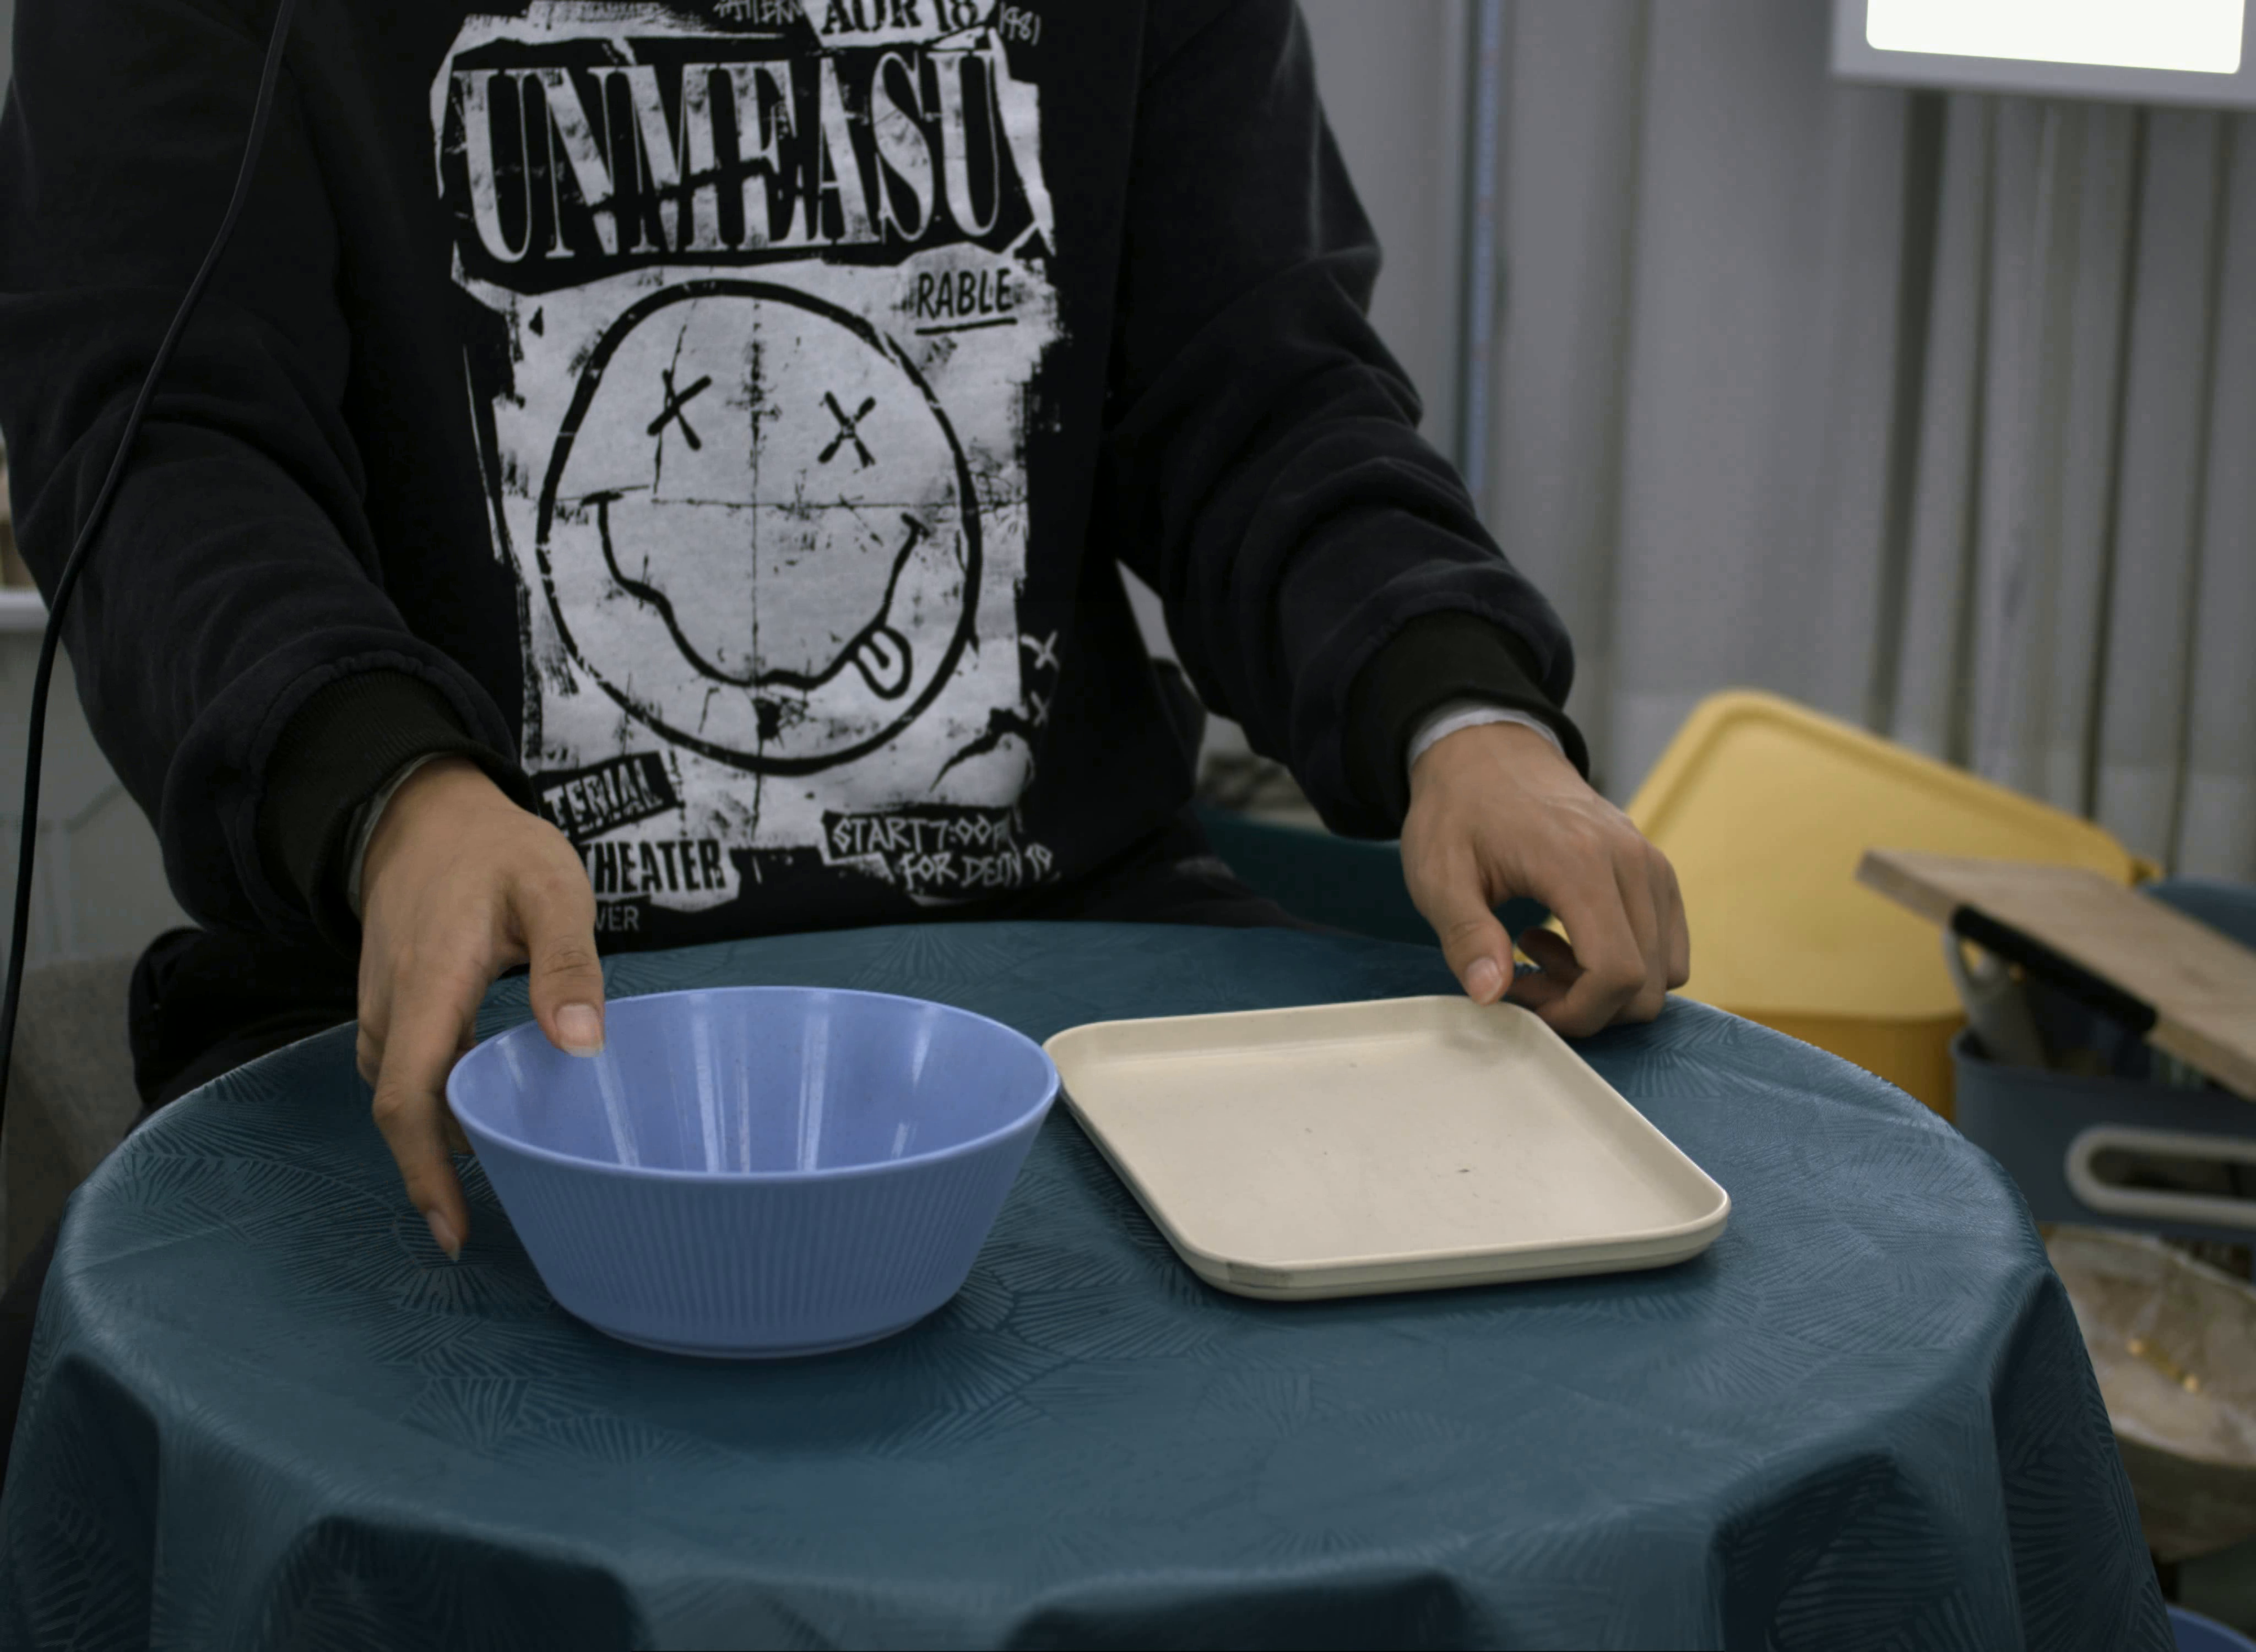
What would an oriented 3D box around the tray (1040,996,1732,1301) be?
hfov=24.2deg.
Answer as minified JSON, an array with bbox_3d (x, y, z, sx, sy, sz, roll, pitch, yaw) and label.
[{"bbox_3d":[0.076,0.099,1.645,0.171,0.017,0.237,-3,16,-14],"label":"tray"}]

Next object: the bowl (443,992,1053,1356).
[{"bbox_3d":[-0.110,0.103,1.525,0.175,0.071,0.175,1,15,0],"label":"bowl"}]
